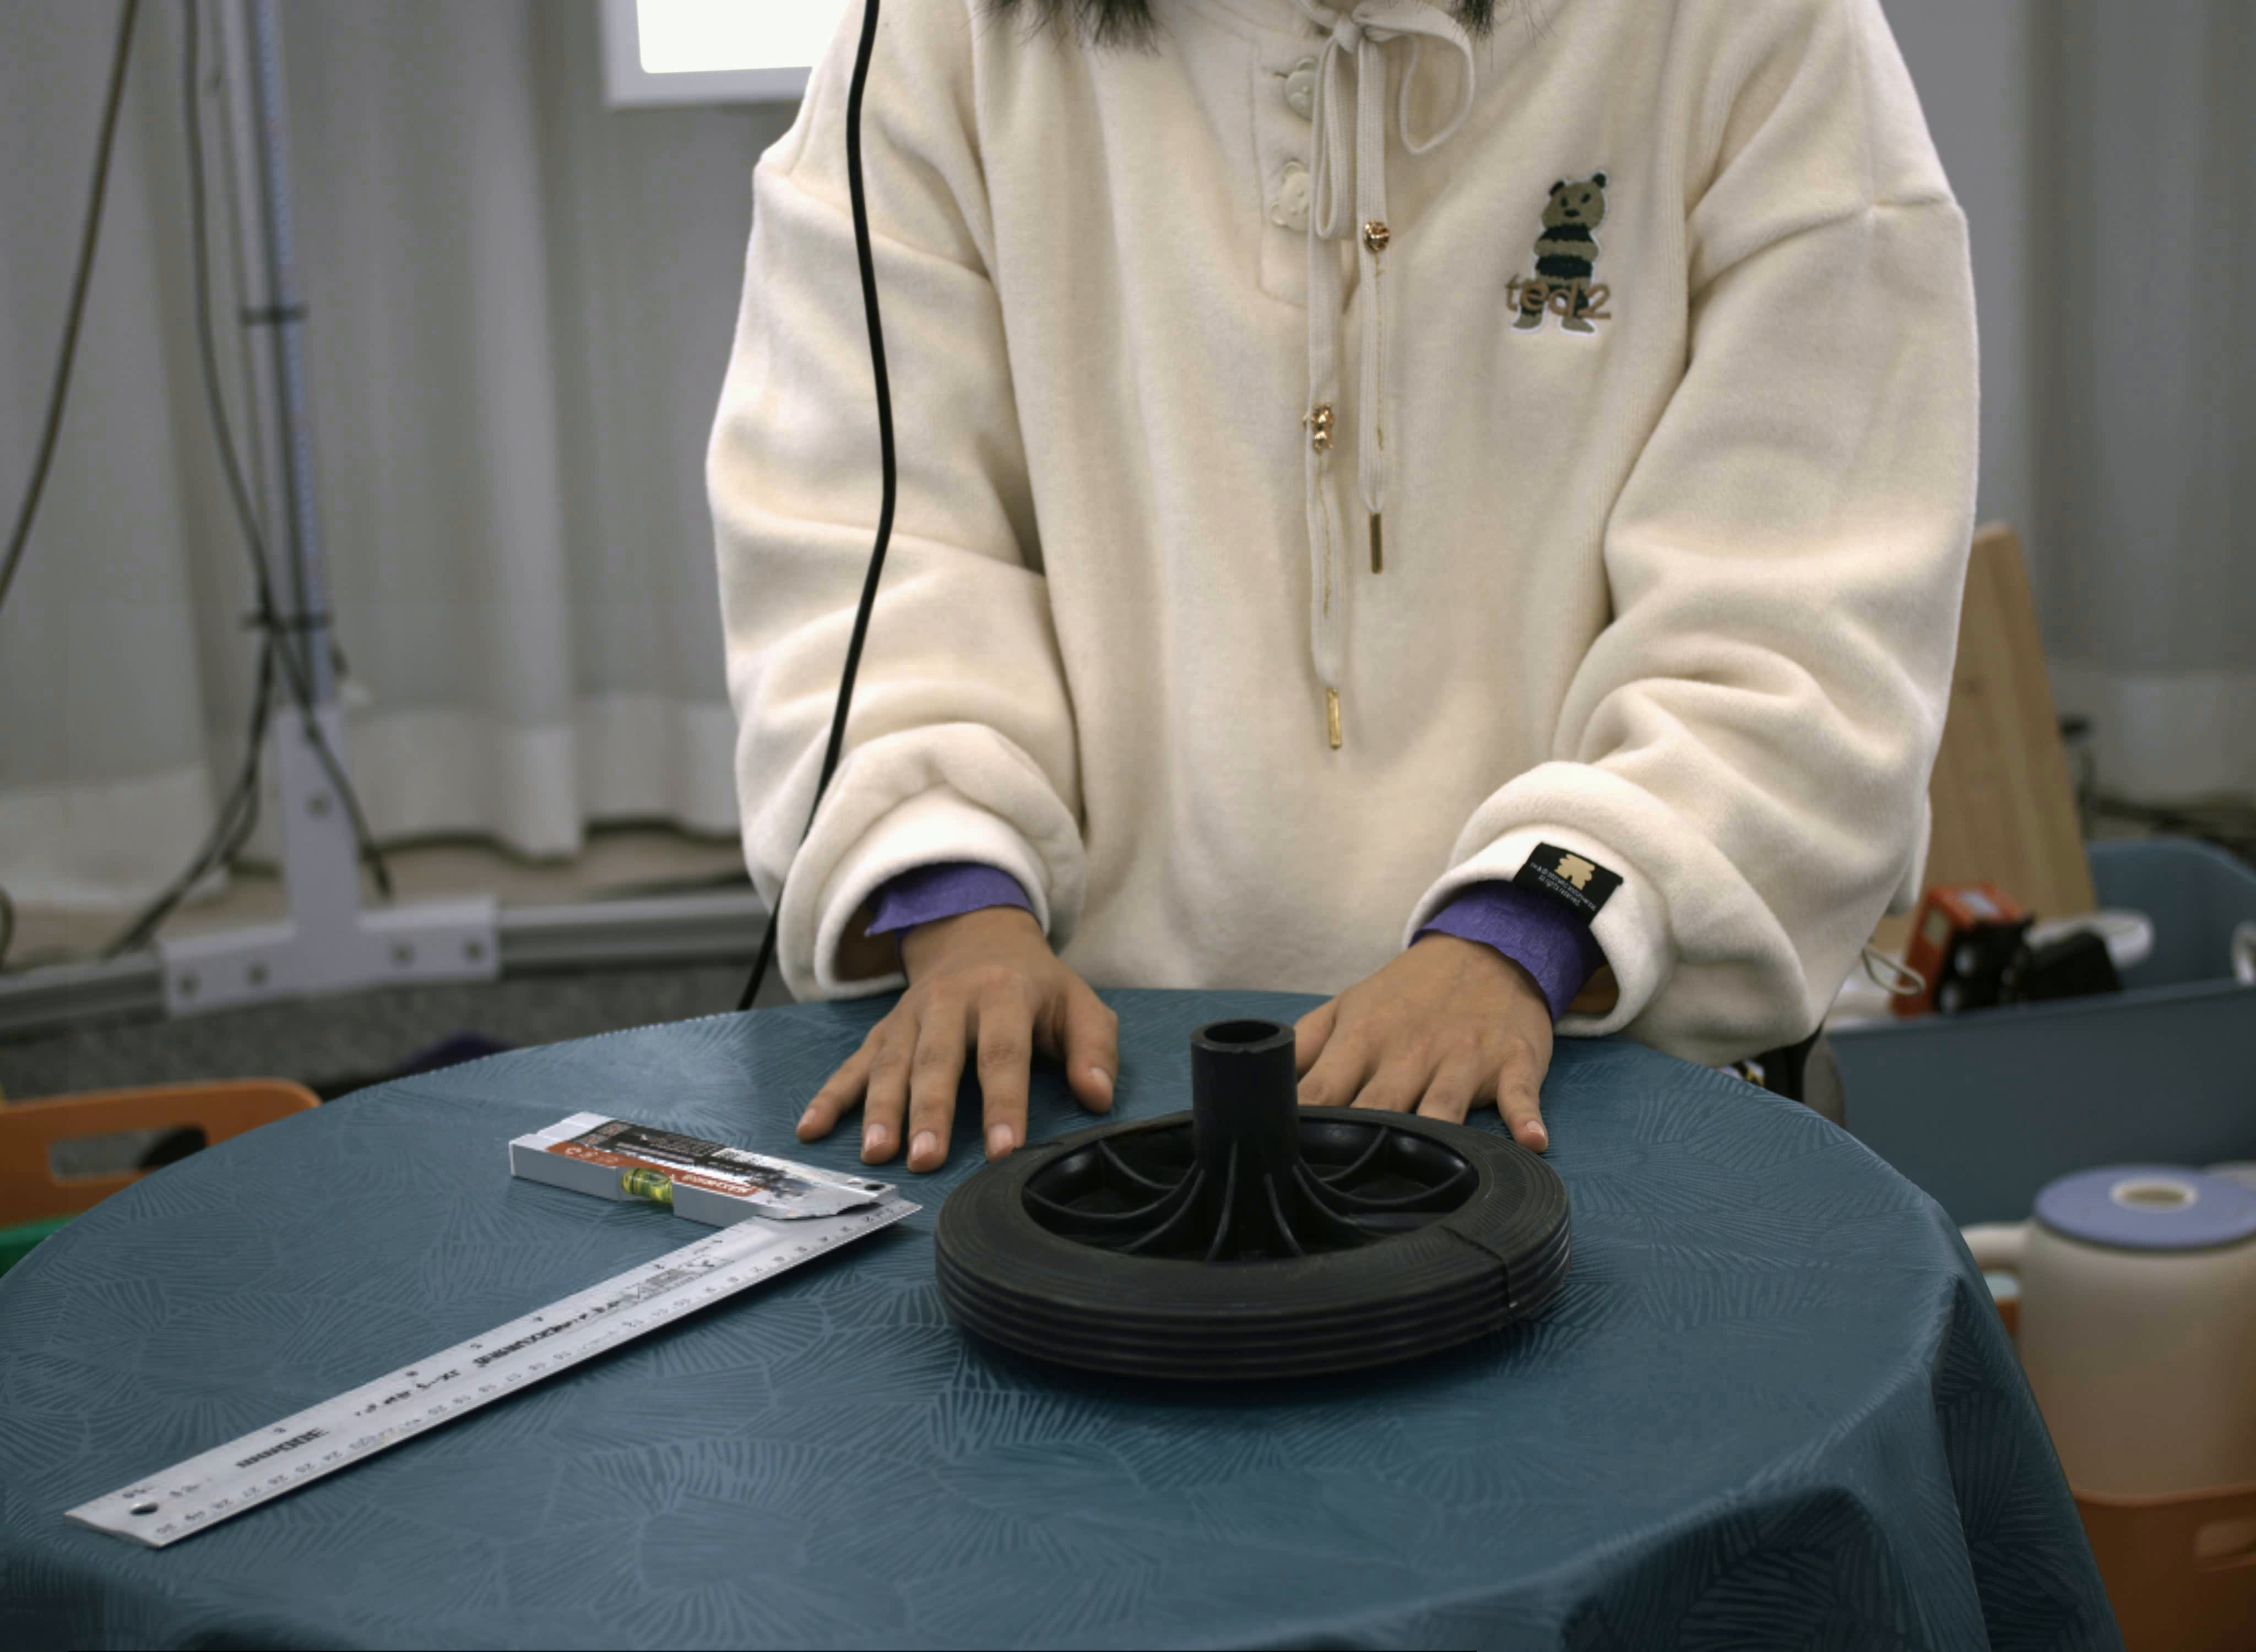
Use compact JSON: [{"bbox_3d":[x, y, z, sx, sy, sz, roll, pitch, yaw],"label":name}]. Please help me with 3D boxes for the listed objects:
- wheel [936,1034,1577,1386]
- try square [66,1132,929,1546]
[{"bbox_3d":[0.037,0.103,1.604,0.189,0.079,0.189,-6,15,-13],"label":"wheel"},{"bbox_3d":[-0.215,0.148,1.624,0.153,0.016,0.312,6,18,40],"label":"try square"}]
